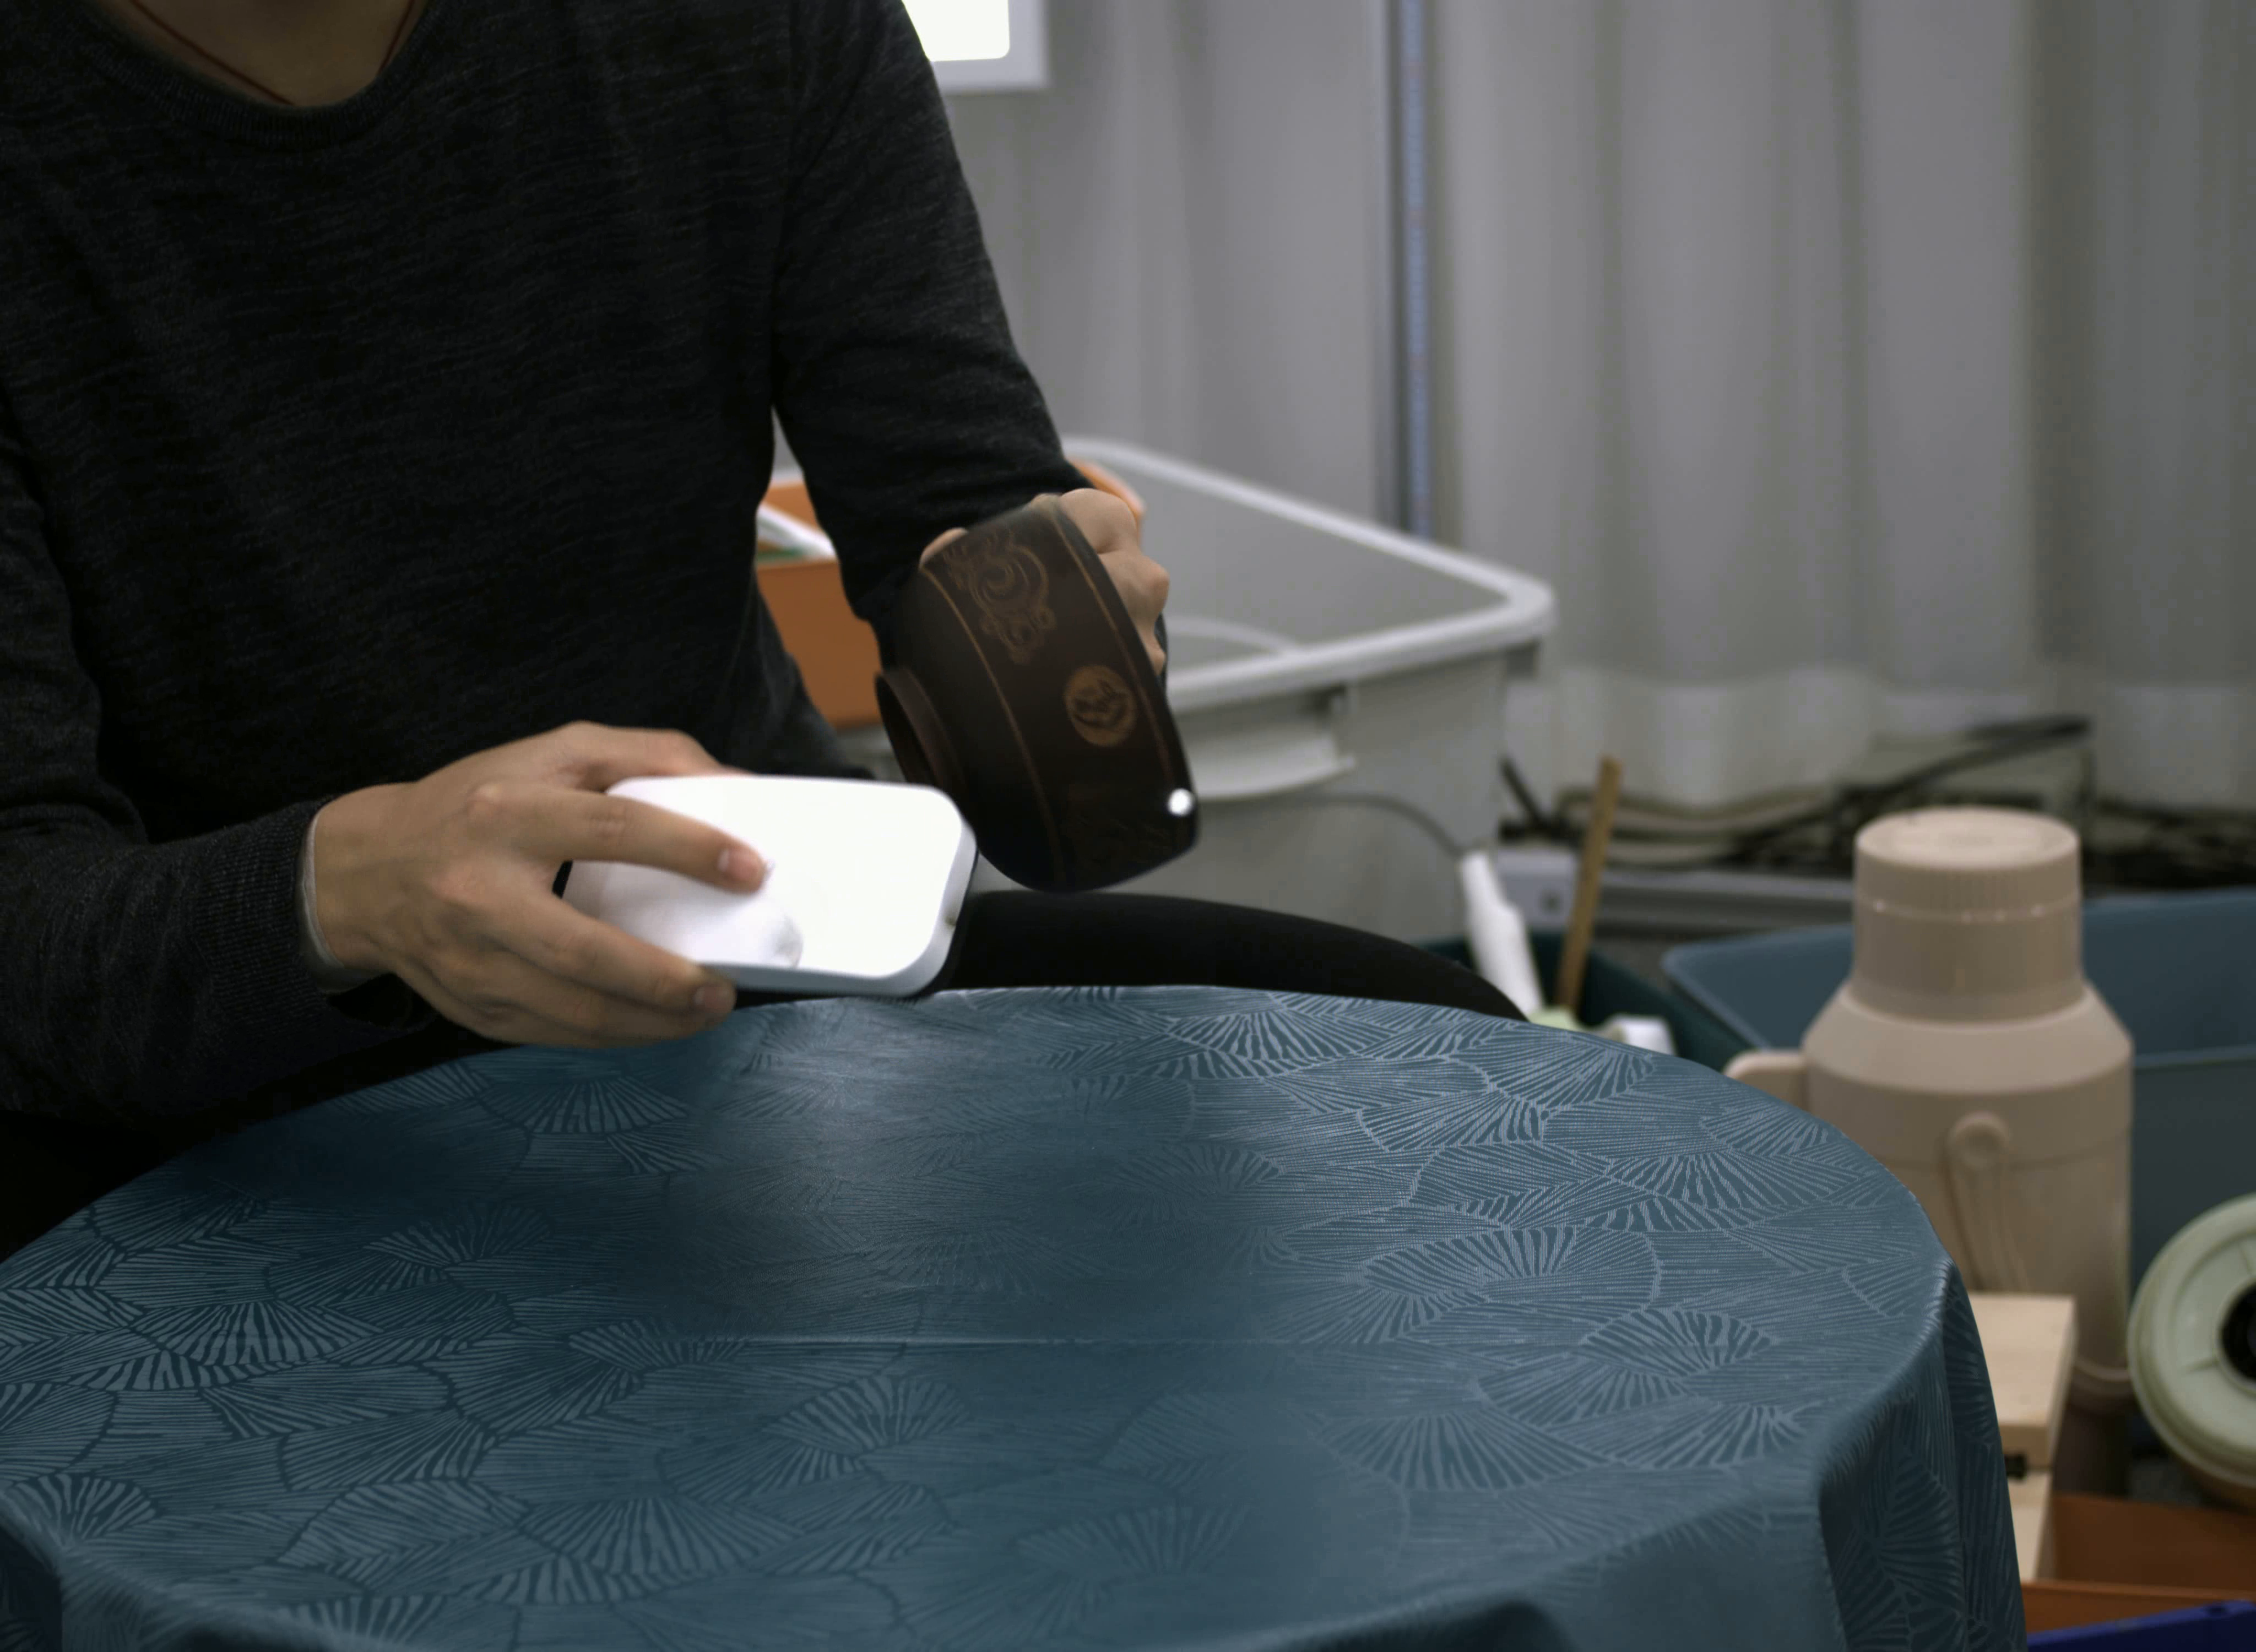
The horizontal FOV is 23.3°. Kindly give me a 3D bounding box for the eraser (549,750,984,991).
[{"bbox_3d":[-0.106,0.014,1.600,0.131,0.064,0.034,2,-26,28],"label":"eraser"}]

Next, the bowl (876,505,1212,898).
[{"bbox_3d":[-0.032,-0.030,1.645,0.070,0.117,0.119,-28,21,-12],"label":"bowl"}]
